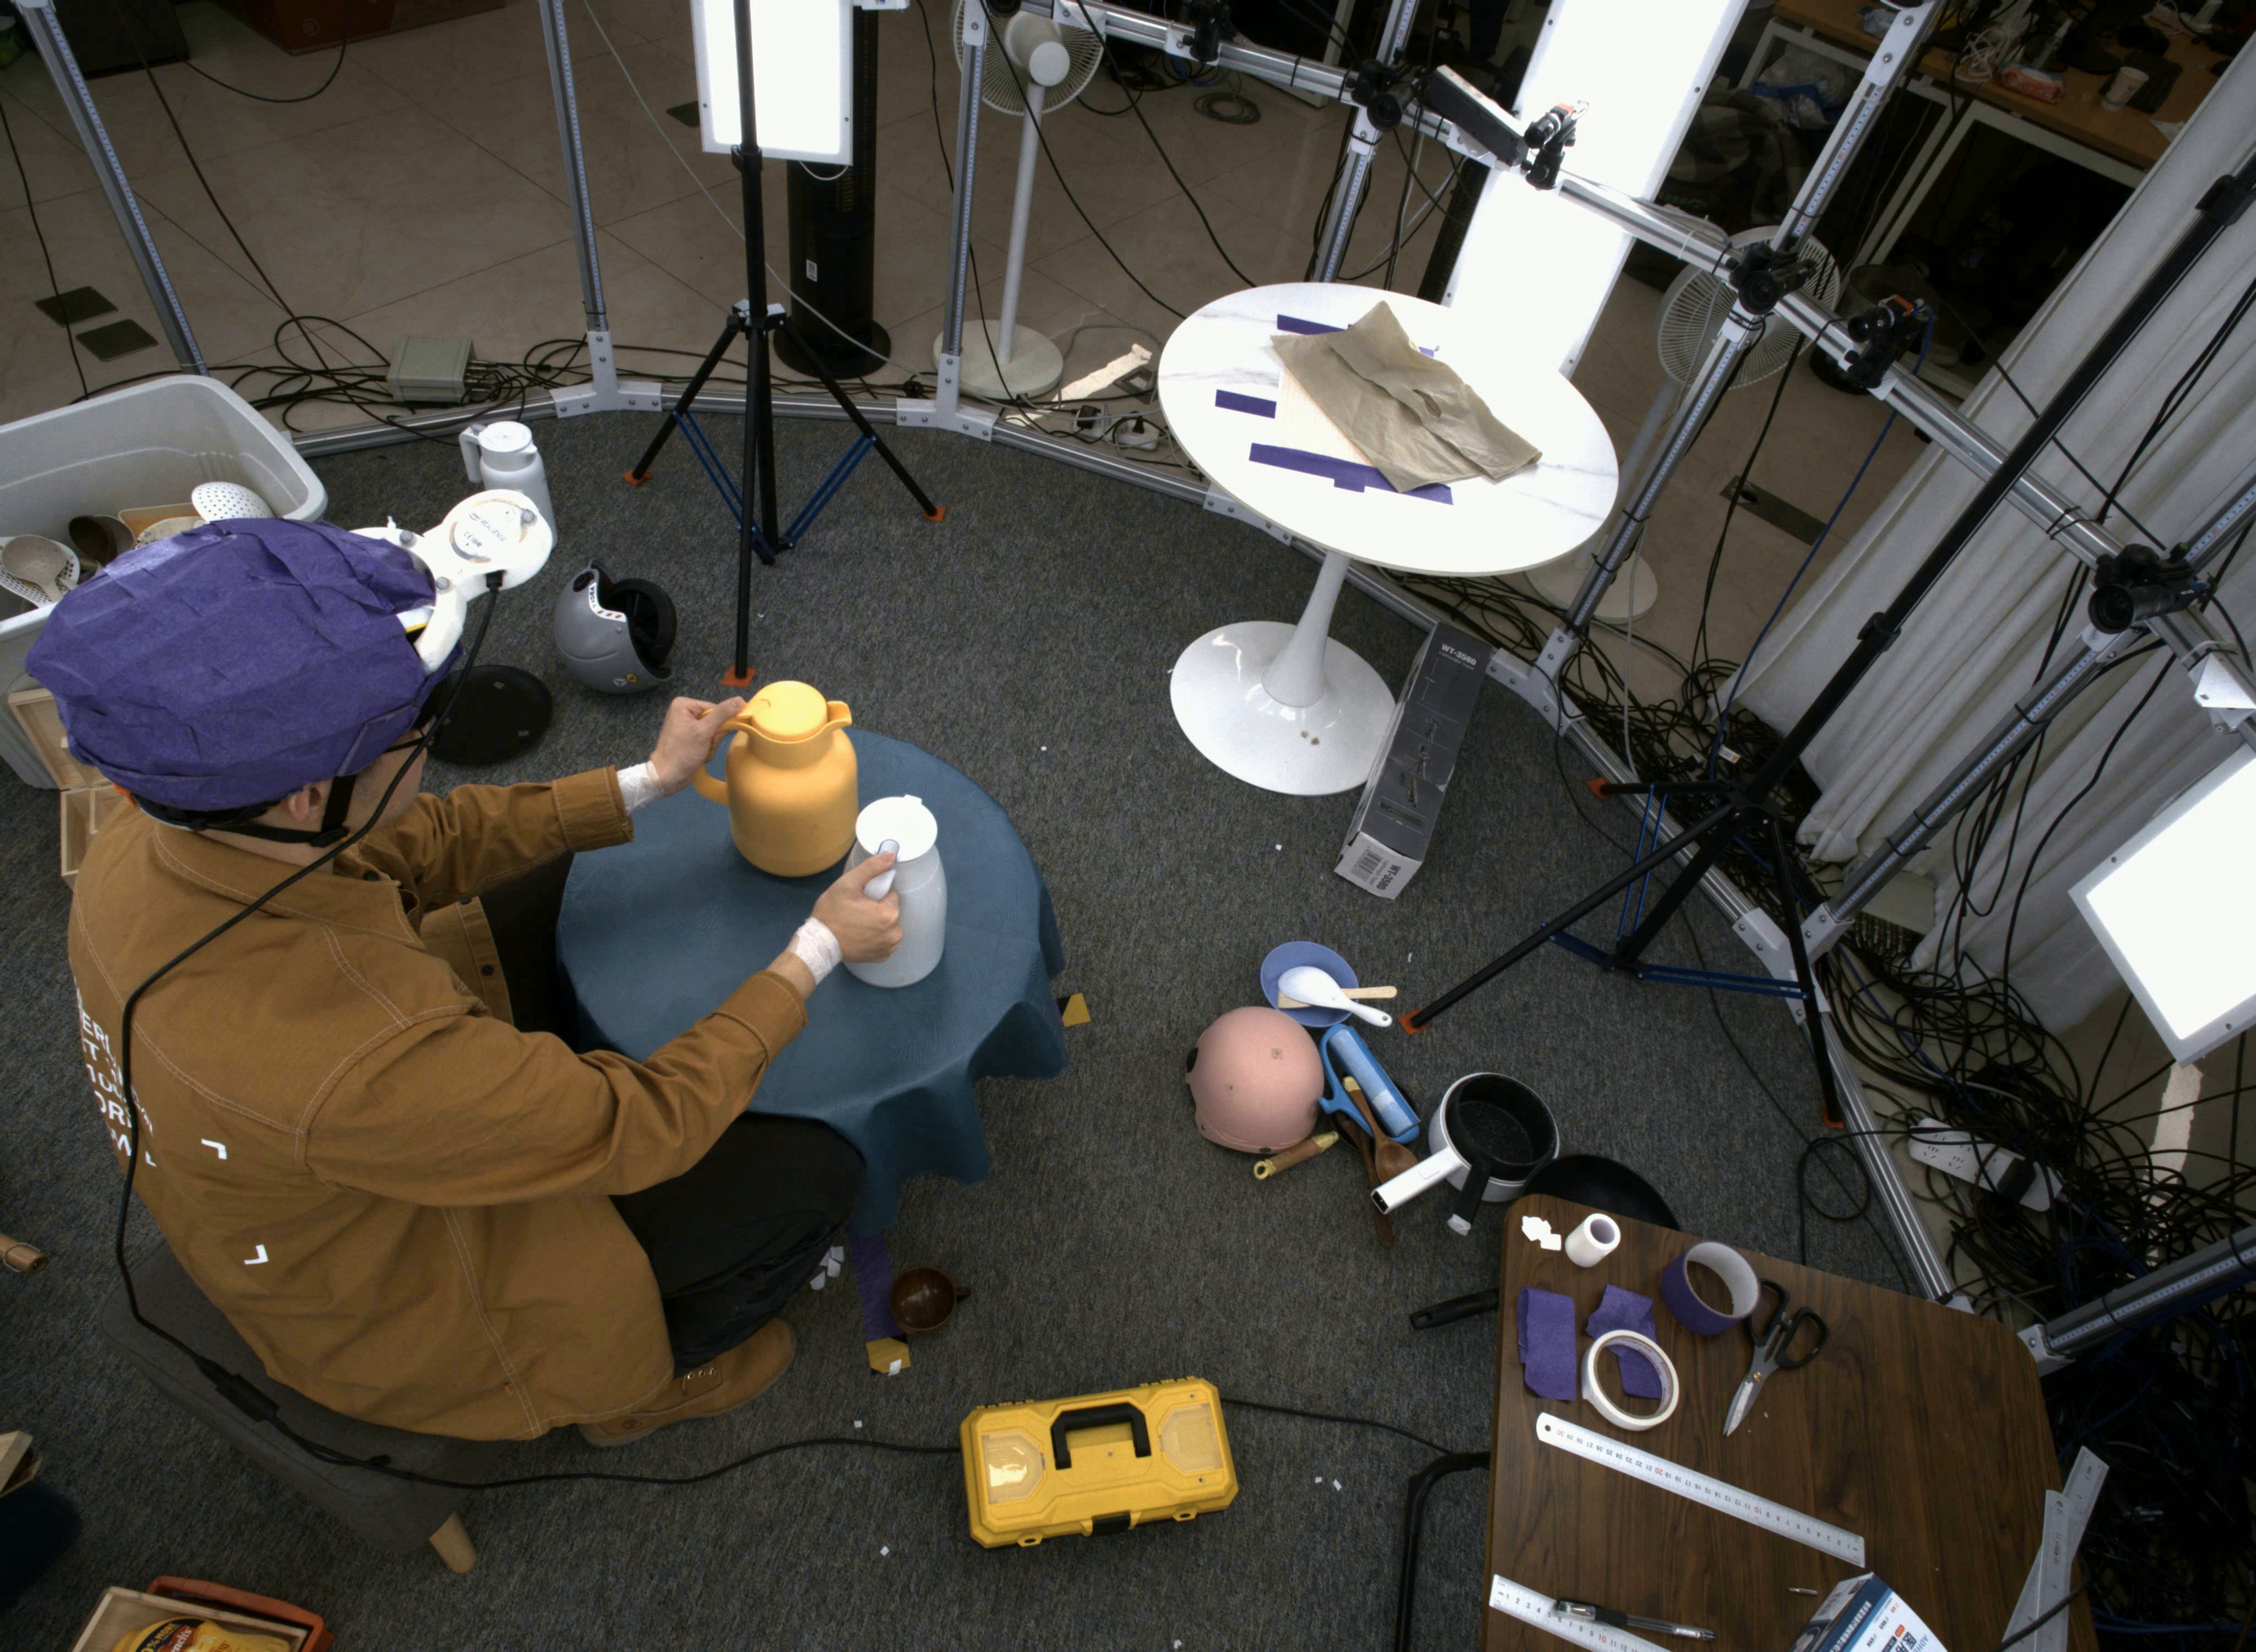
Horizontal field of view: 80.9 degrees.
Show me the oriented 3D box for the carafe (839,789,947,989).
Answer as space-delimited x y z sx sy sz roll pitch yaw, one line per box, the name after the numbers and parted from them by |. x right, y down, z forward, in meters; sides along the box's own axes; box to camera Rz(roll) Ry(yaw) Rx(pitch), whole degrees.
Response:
-0.281 0.084 1.534 0.131 0.254 0.165 15 51 -1 | carafe

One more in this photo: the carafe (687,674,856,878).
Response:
-0.438 -0.068 1.600 0.203 0.266 0.159 -1 51 -14 | carafe
